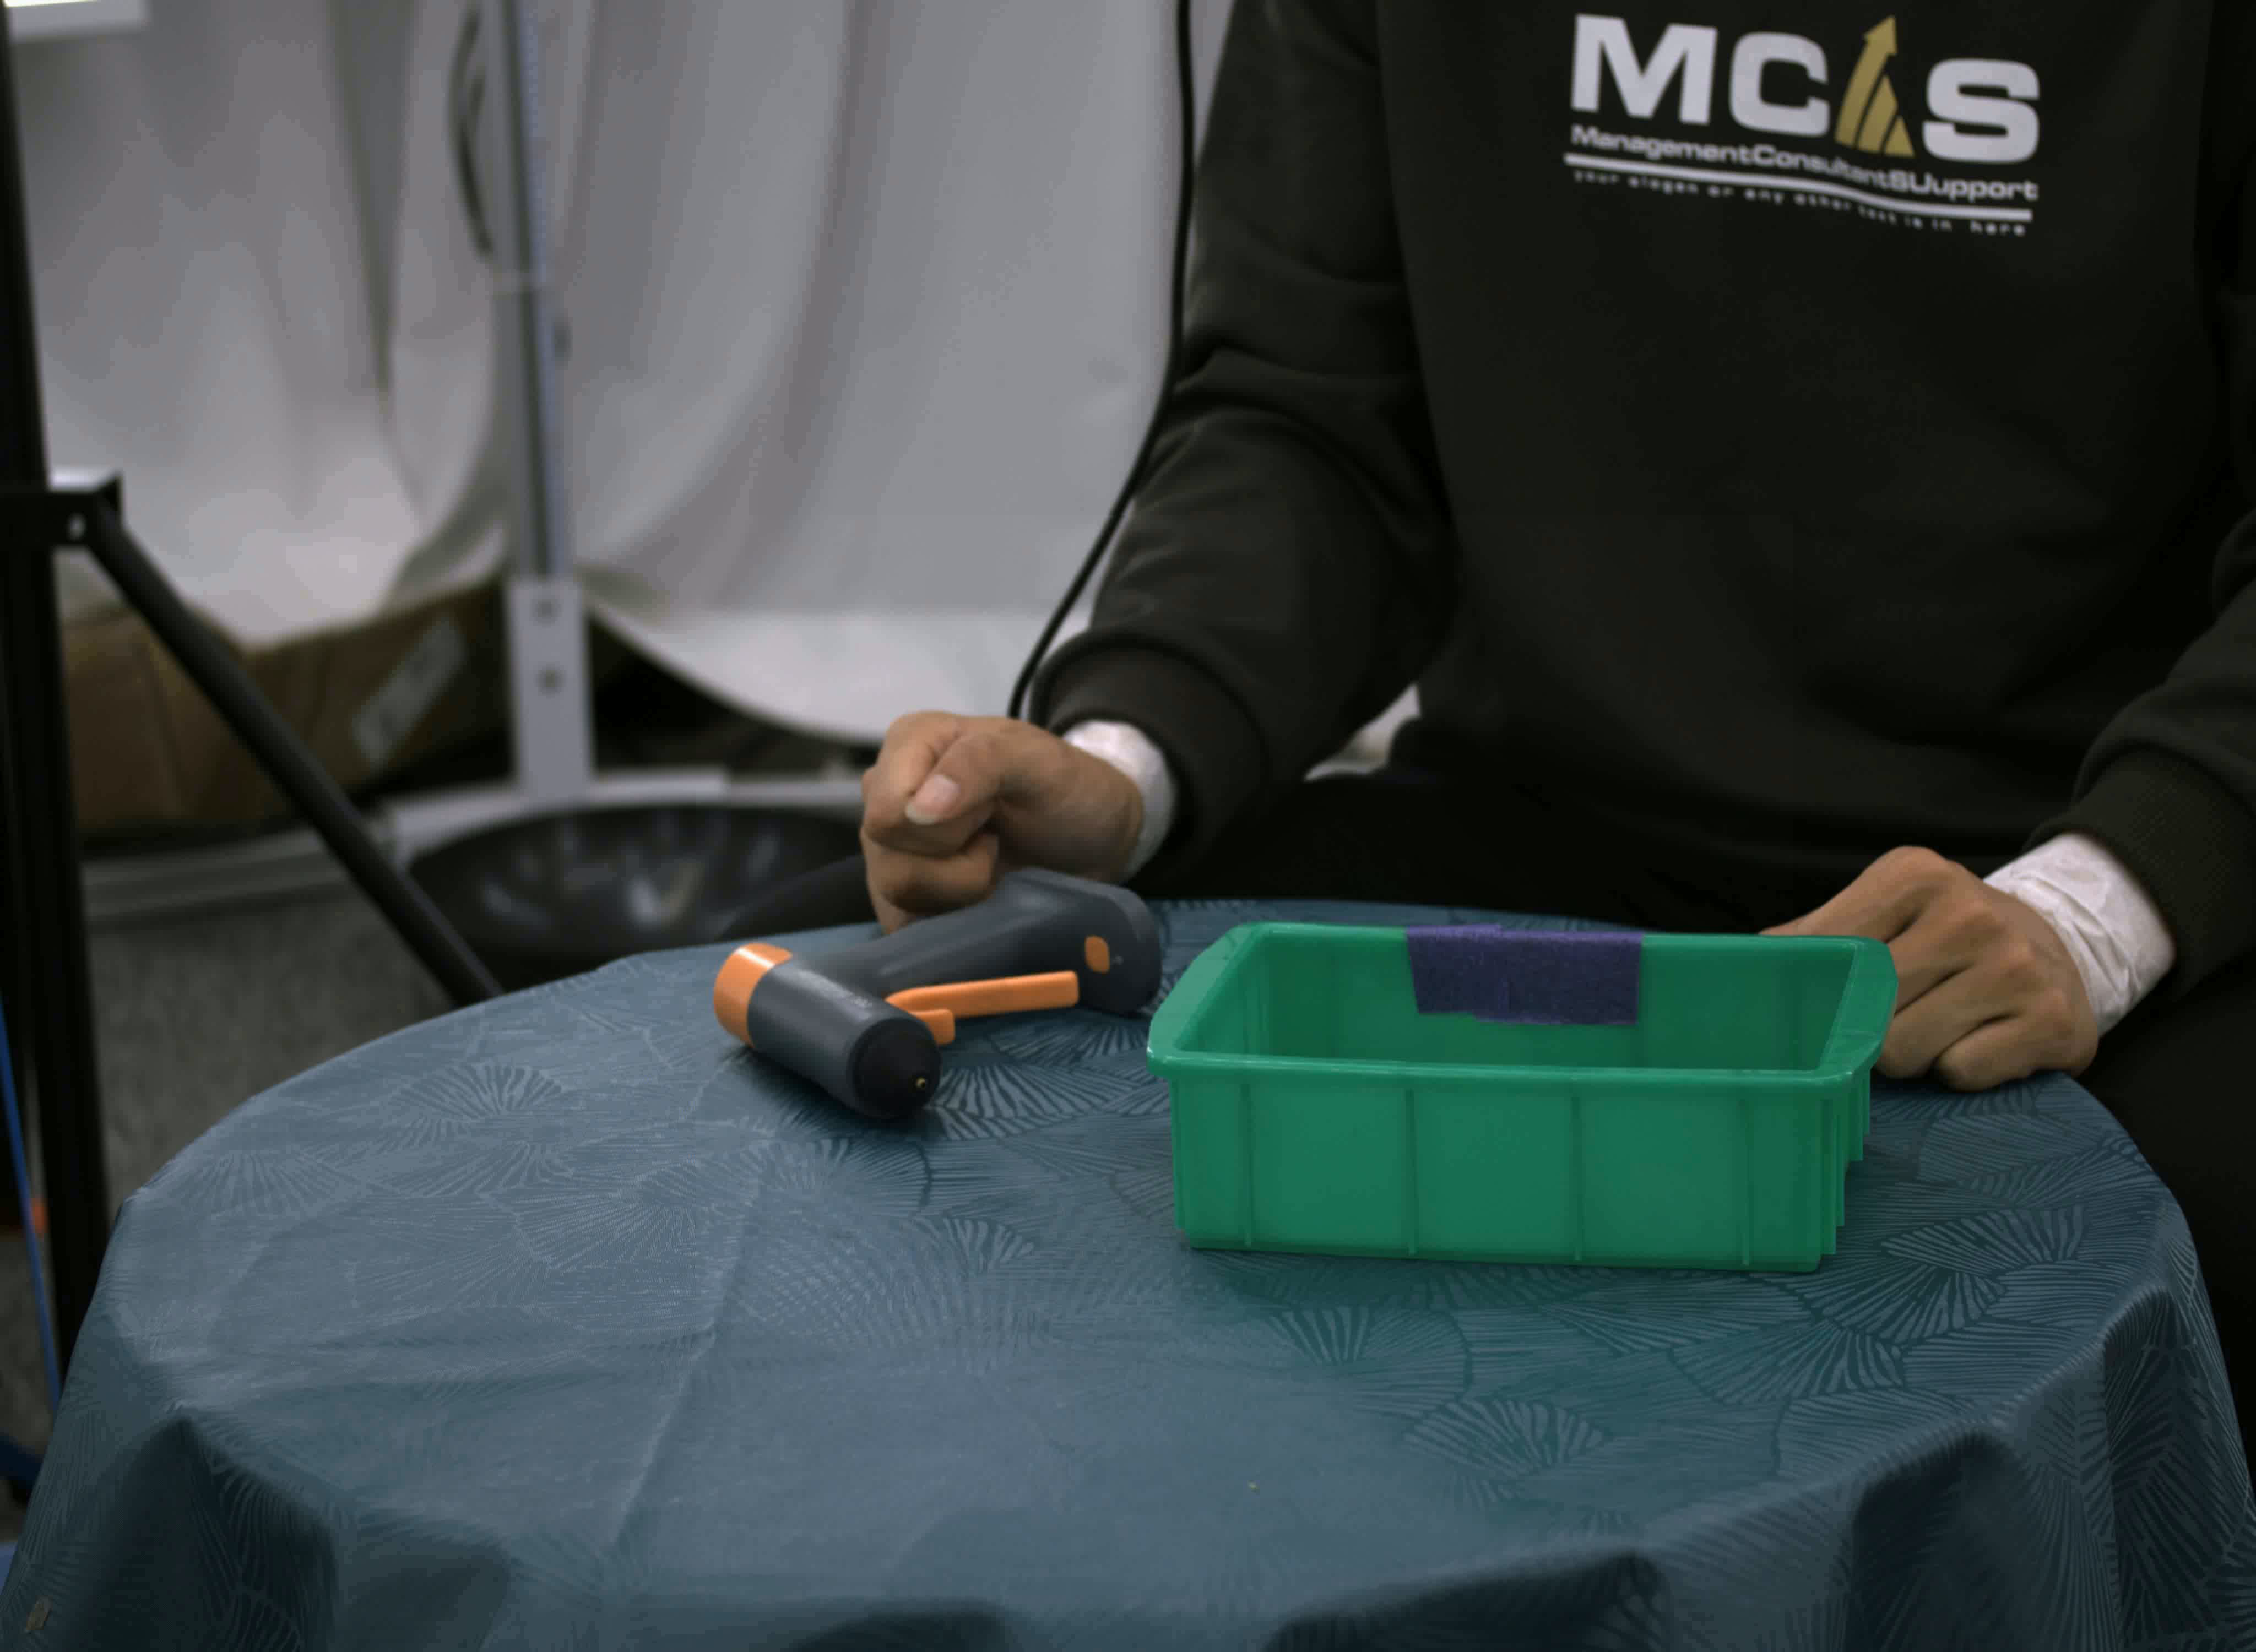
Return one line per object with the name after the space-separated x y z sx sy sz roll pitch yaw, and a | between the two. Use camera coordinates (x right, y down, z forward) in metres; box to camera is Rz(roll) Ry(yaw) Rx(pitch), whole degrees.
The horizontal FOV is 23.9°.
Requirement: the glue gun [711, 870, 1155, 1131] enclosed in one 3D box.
-0.060 0.057 1.690 0.137 0.041 0.120 -20 25 -41 | glue gun

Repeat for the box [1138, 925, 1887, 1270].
0.113 0.079 1.531 0.212 0.065 0.138 0 14 14 | box
